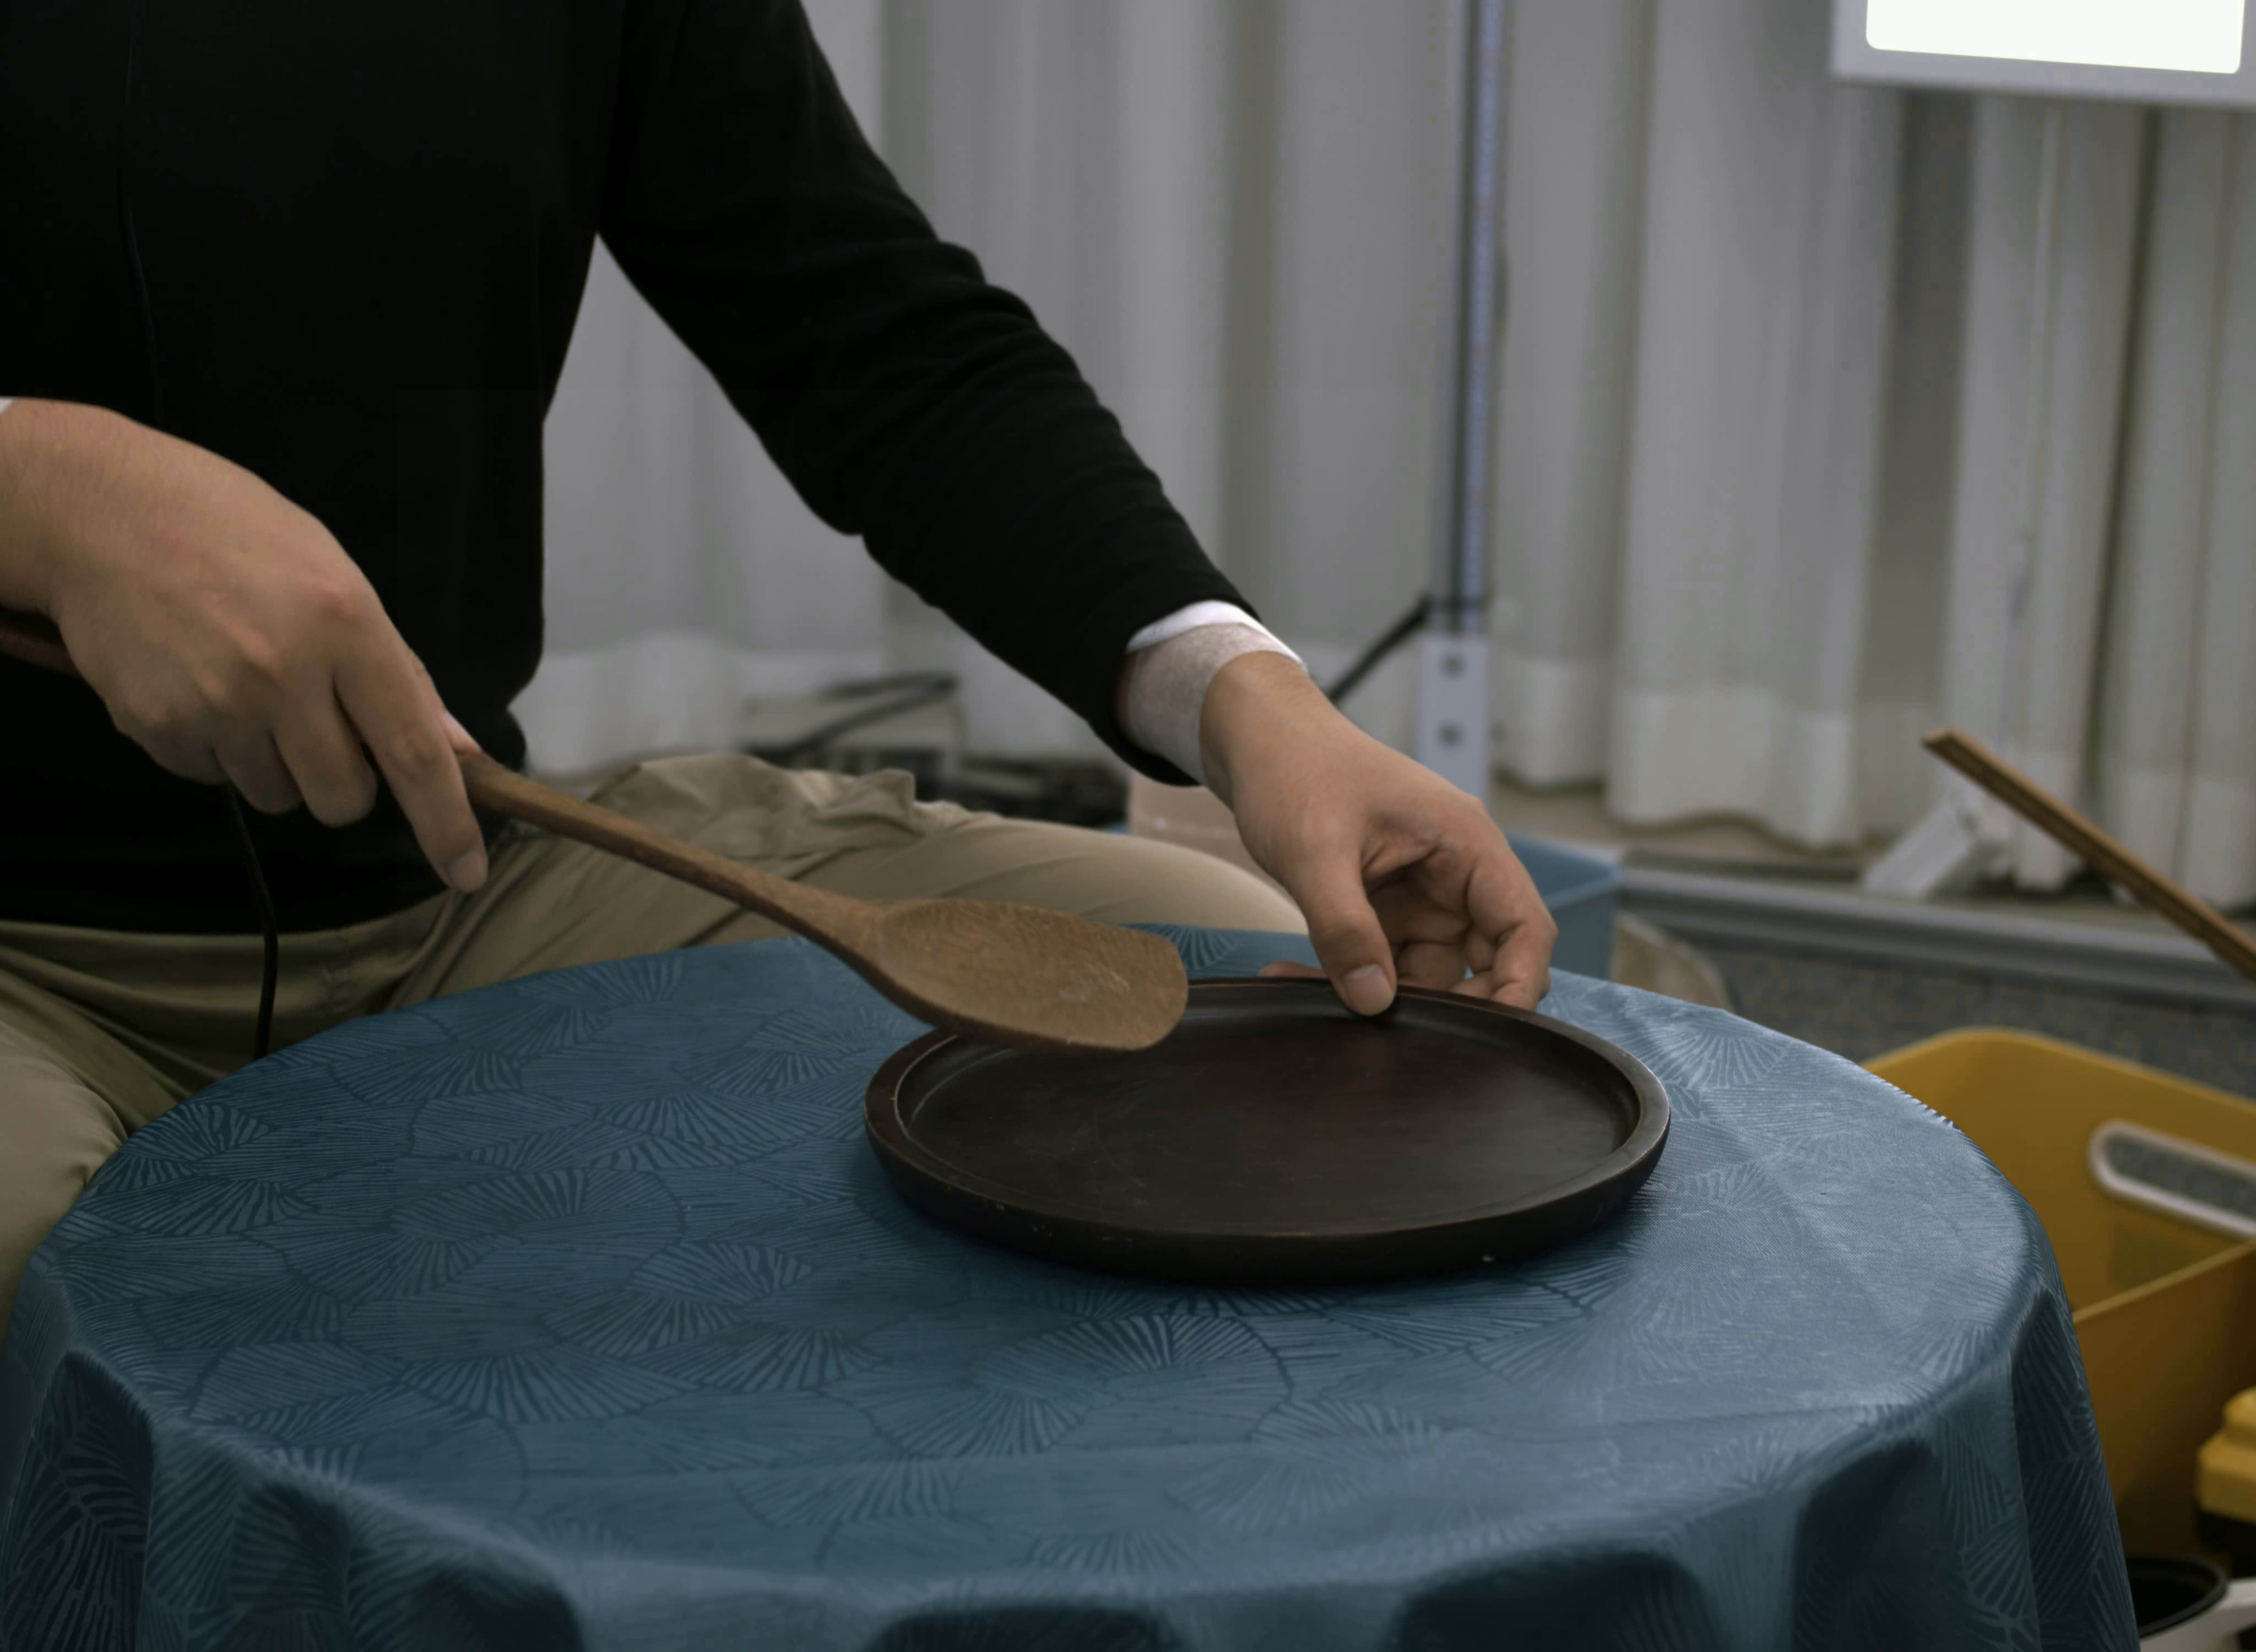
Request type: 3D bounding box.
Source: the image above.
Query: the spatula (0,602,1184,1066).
[{"bbox_3d":[-0.167,-0.002,1.535,0.384,0.016,0.096,19,23,4],"label":"spatula"}]

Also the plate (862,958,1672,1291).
[{"bbox_3d":[0.043,0.094,1.644,0.254,0.029,0.253,-1,16,1],"label":"plate"}]
